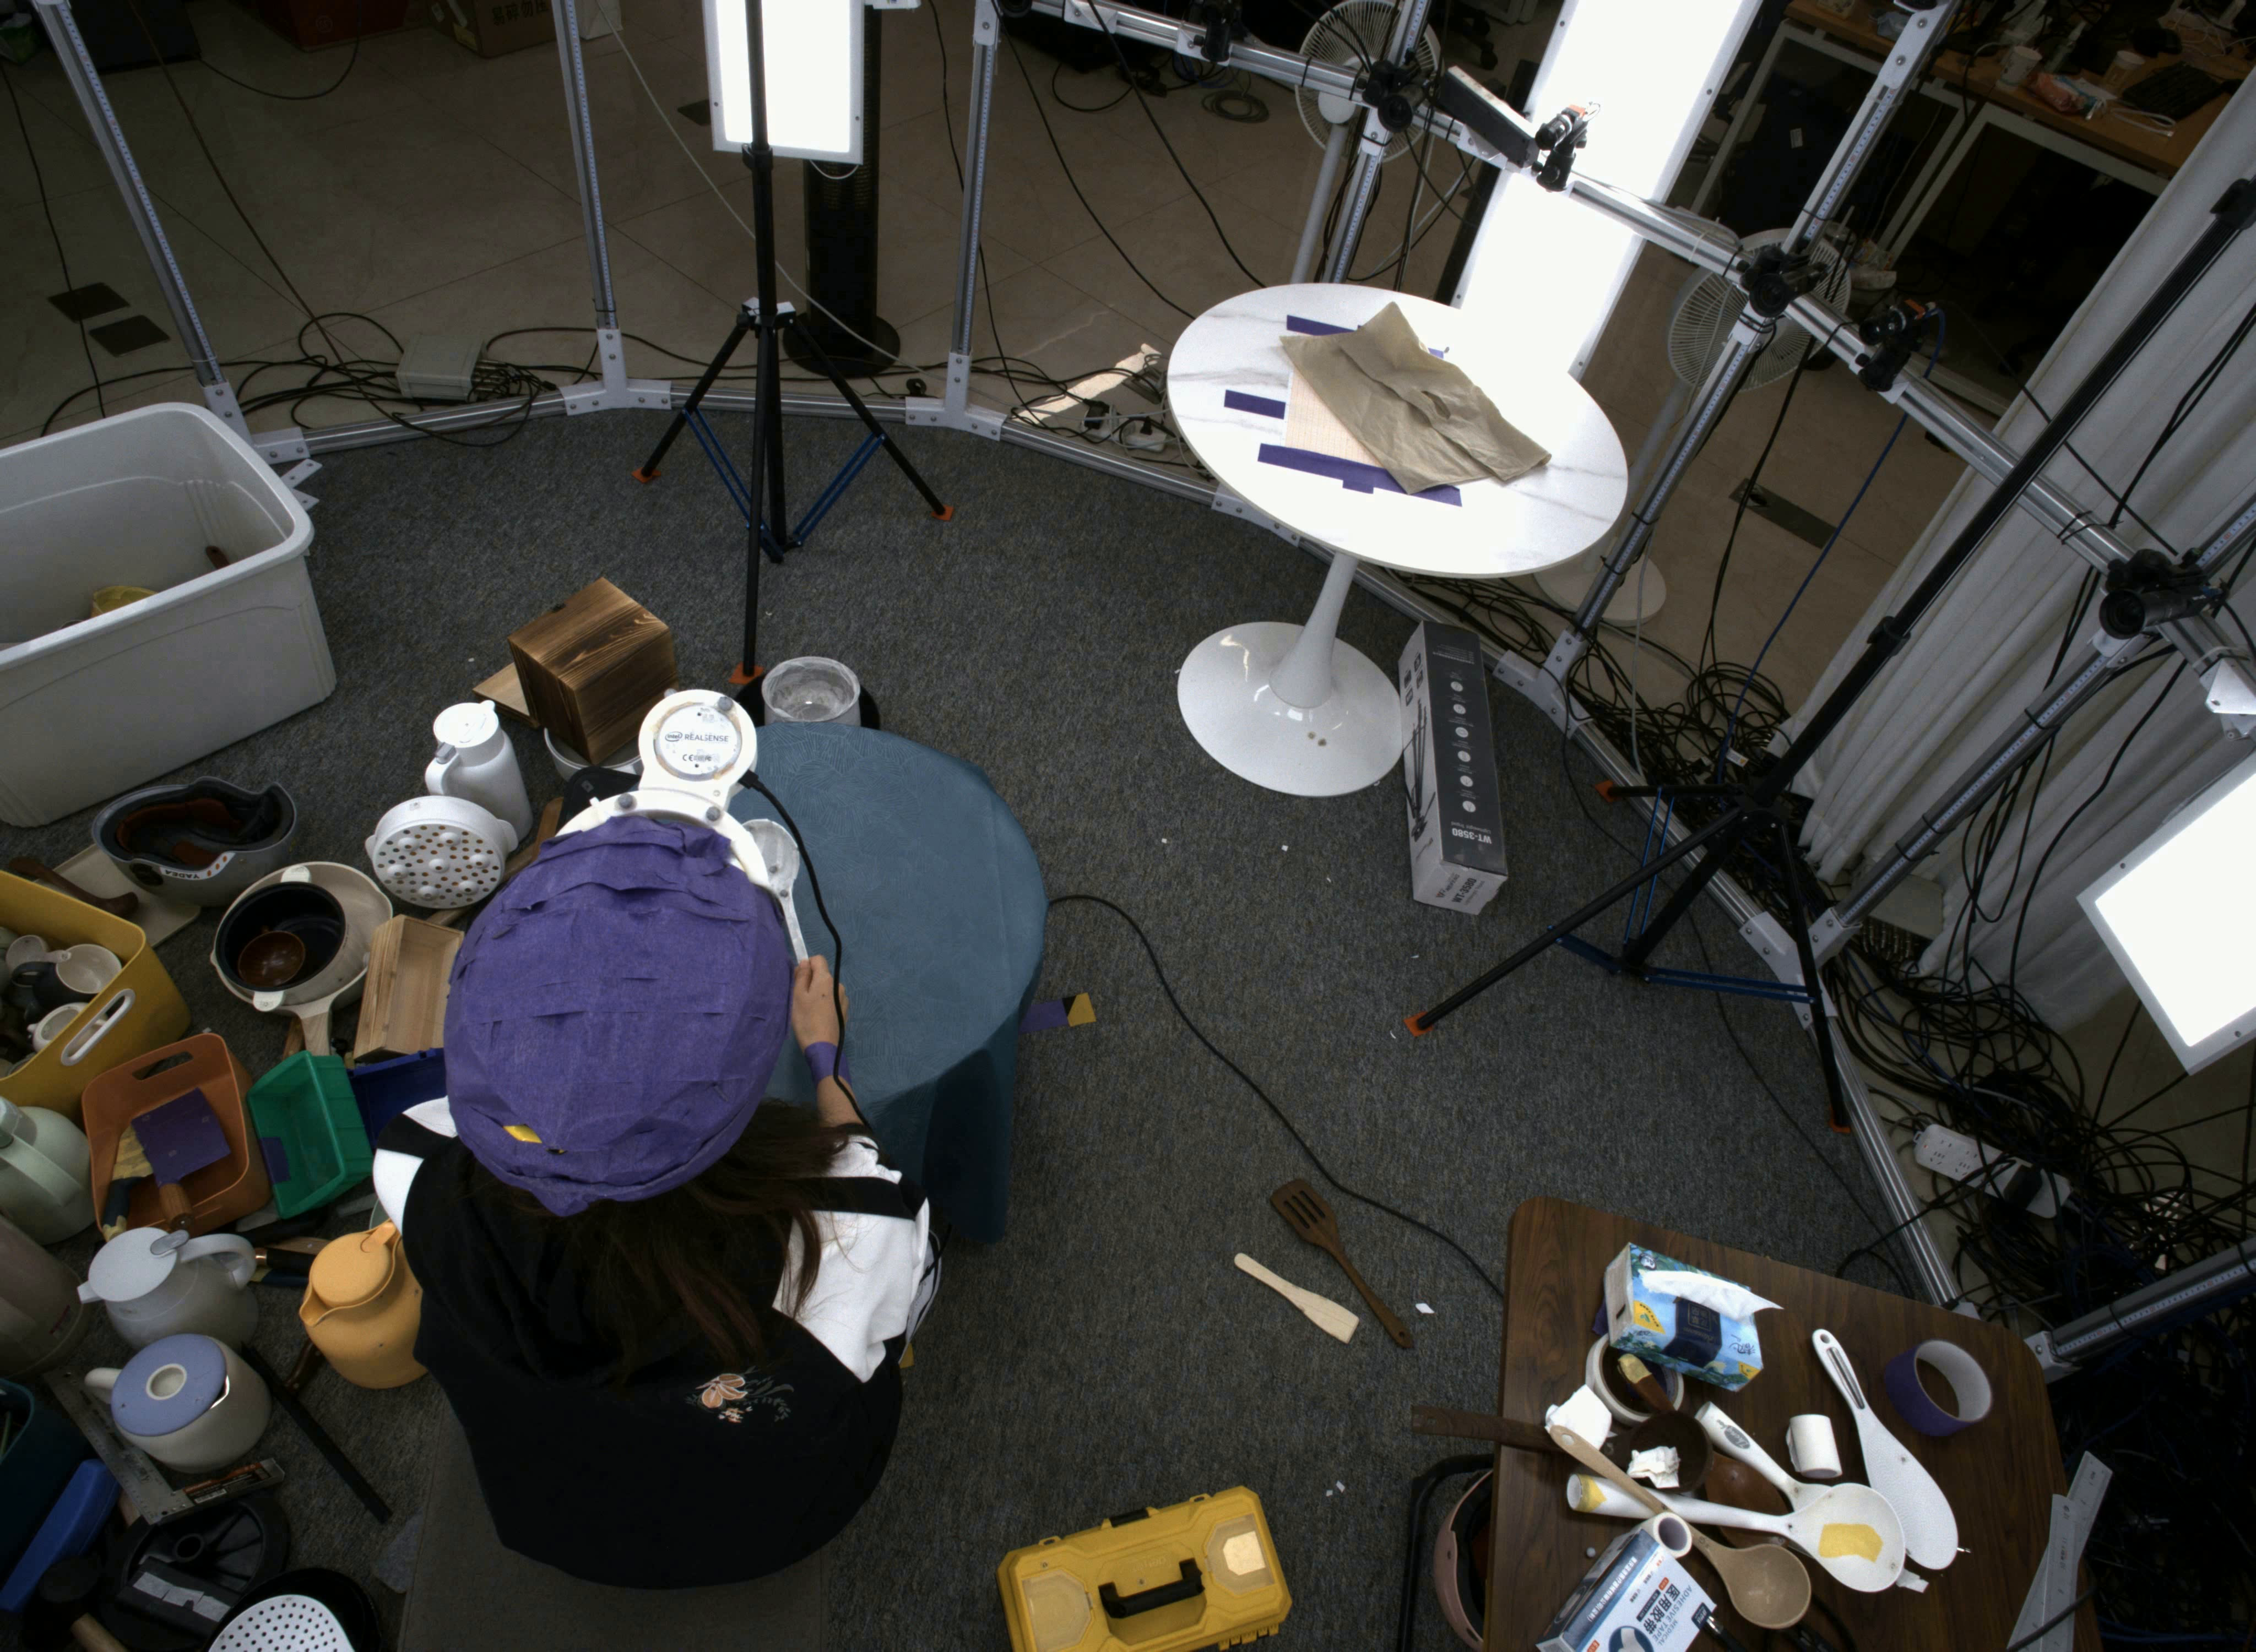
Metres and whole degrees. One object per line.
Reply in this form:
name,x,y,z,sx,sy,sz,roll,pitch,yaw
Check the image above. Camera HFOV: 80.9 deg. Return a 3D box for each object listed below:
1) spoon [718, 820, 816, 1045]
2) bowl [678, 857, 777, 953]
spoon,-0.423,0.124,1.521,0.099,0.061,0.273,-28,67,19
bowl,-0.487,0.102,1.579,0.118,0.071,0.116,8,51,-8
